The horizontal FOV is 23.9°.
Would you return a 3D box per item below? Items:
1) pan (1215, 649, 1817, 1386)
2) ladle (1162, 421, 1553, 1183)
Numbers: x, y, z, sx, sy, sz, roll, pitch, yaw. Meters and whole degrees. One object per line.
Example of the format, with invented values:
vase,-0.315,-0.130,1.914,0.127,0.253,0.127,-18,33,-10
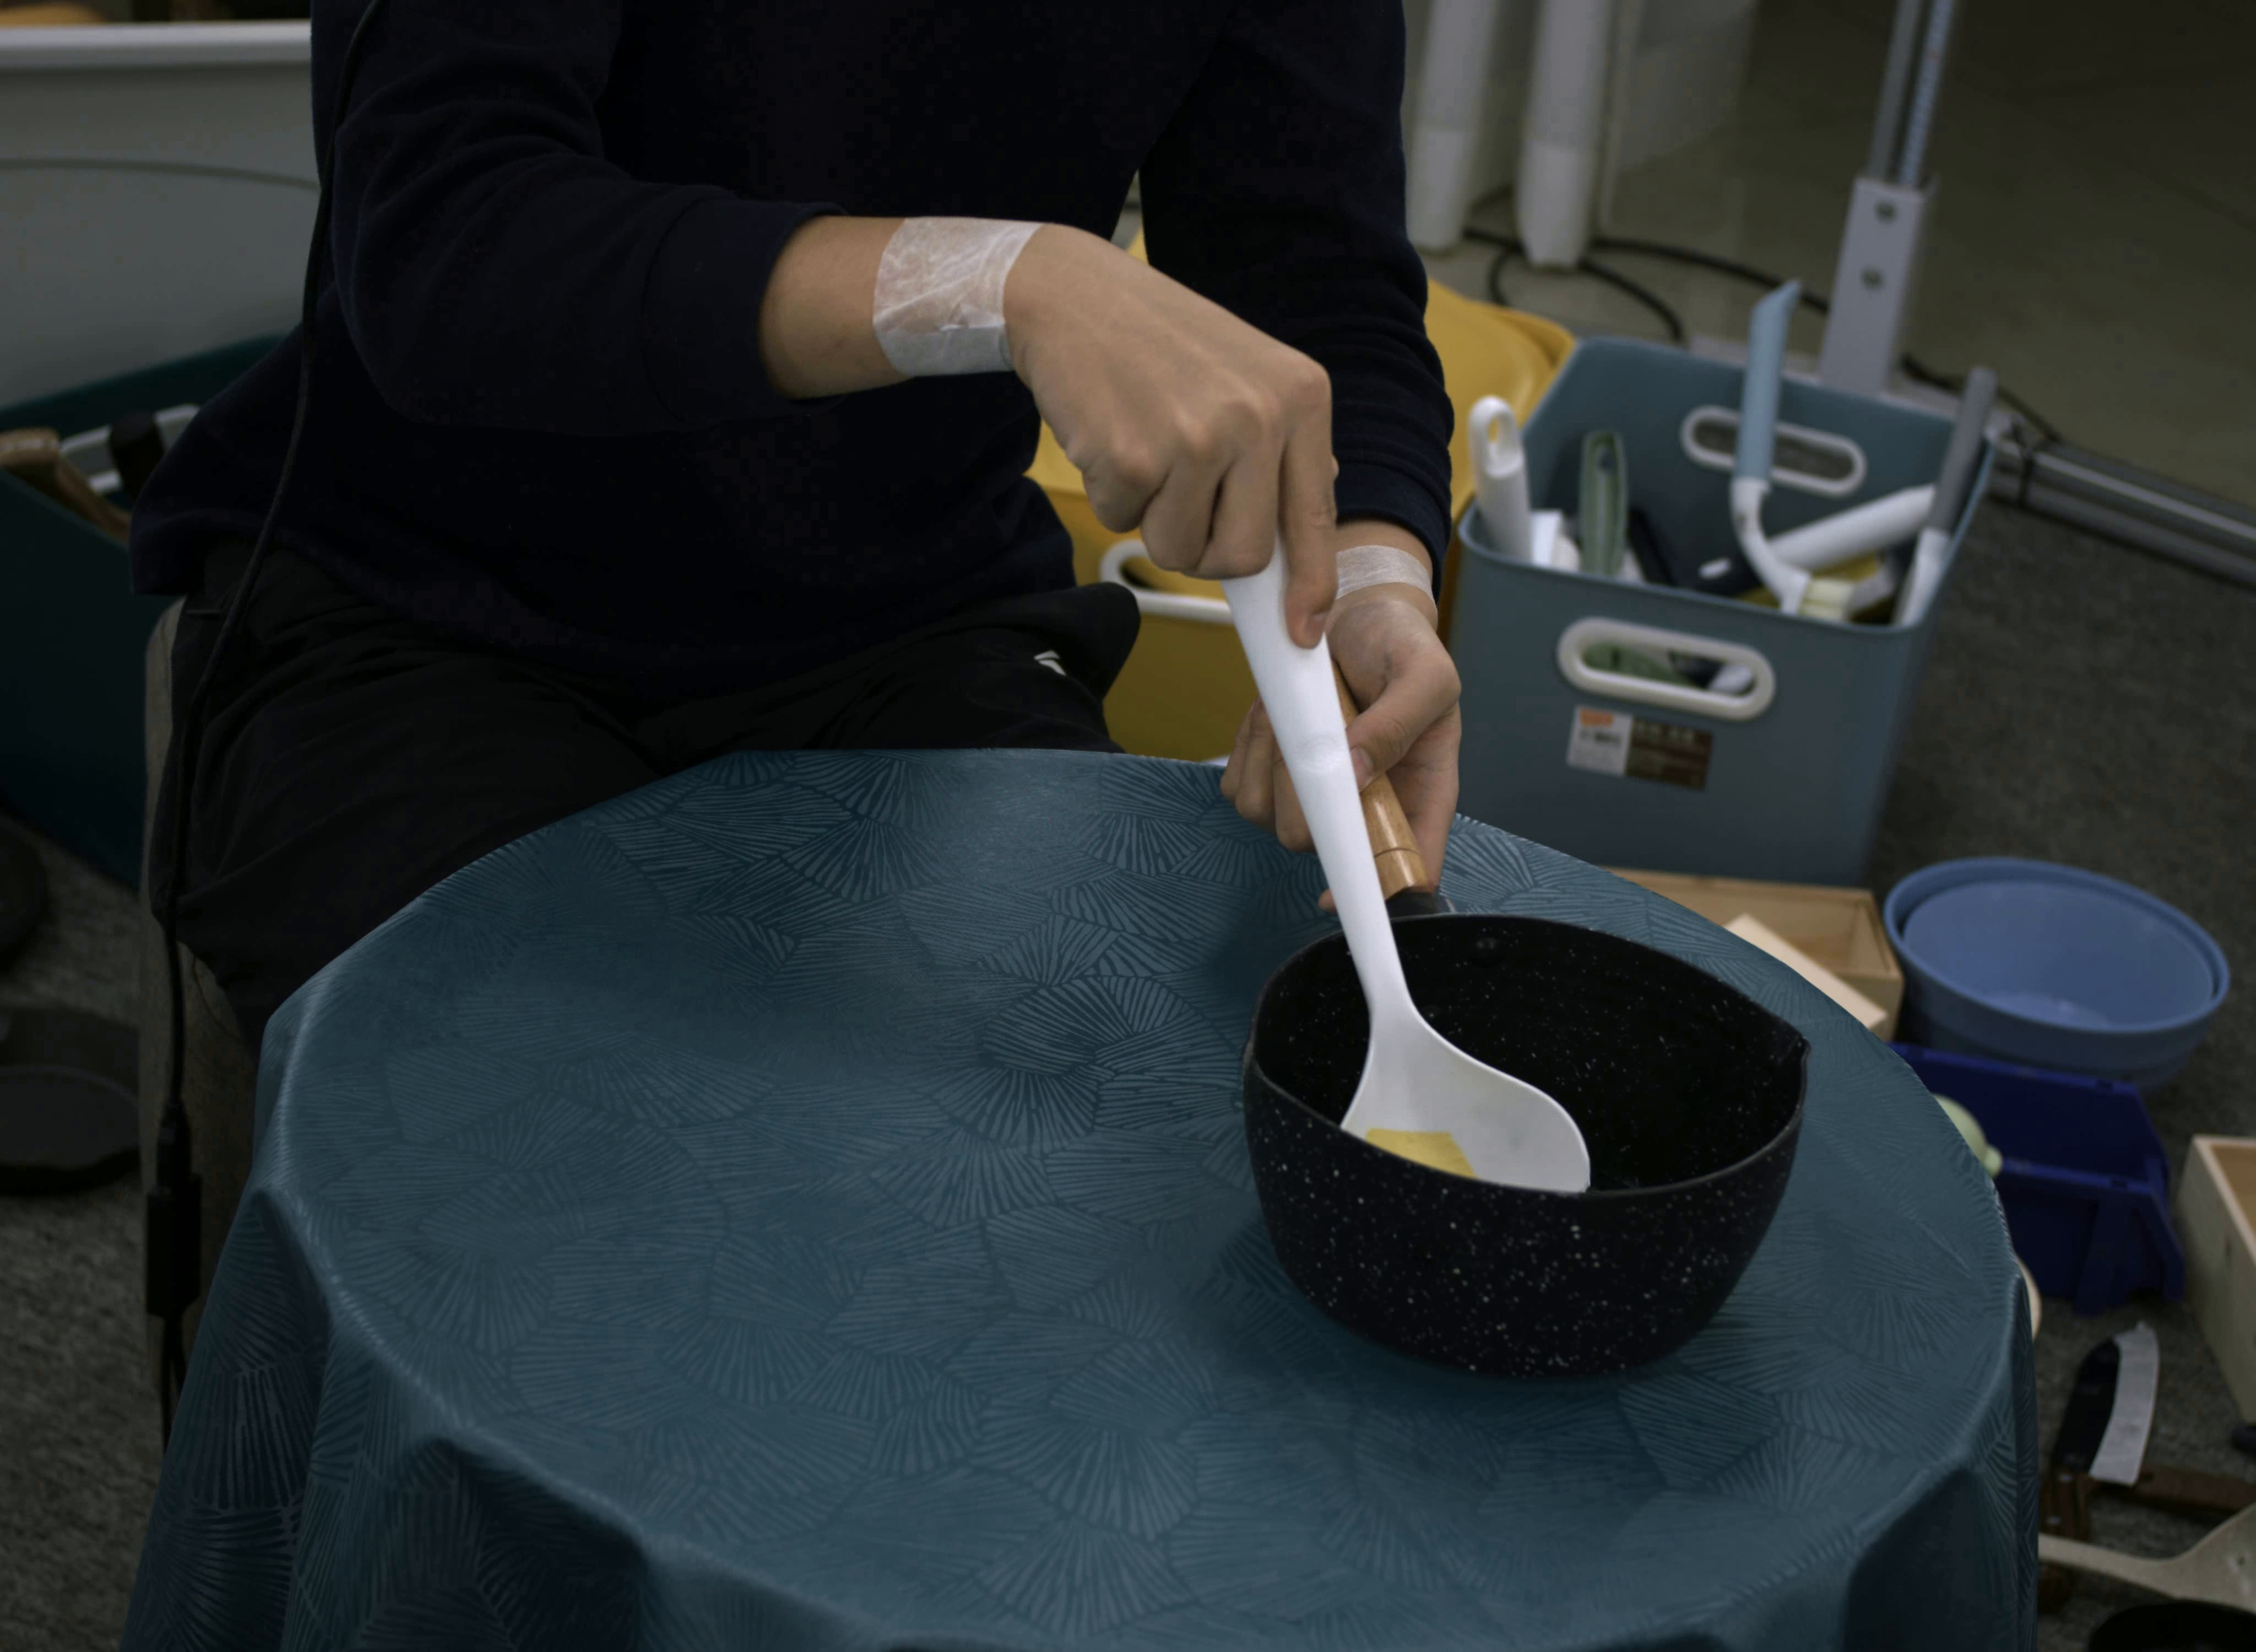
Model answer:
pan,0.105,0.062,1.828,0.206,0.108,0.346,-4,30,-17
ladle,0.066,0.009,1.772,0.090,0.293,0.070,-16,3,4
